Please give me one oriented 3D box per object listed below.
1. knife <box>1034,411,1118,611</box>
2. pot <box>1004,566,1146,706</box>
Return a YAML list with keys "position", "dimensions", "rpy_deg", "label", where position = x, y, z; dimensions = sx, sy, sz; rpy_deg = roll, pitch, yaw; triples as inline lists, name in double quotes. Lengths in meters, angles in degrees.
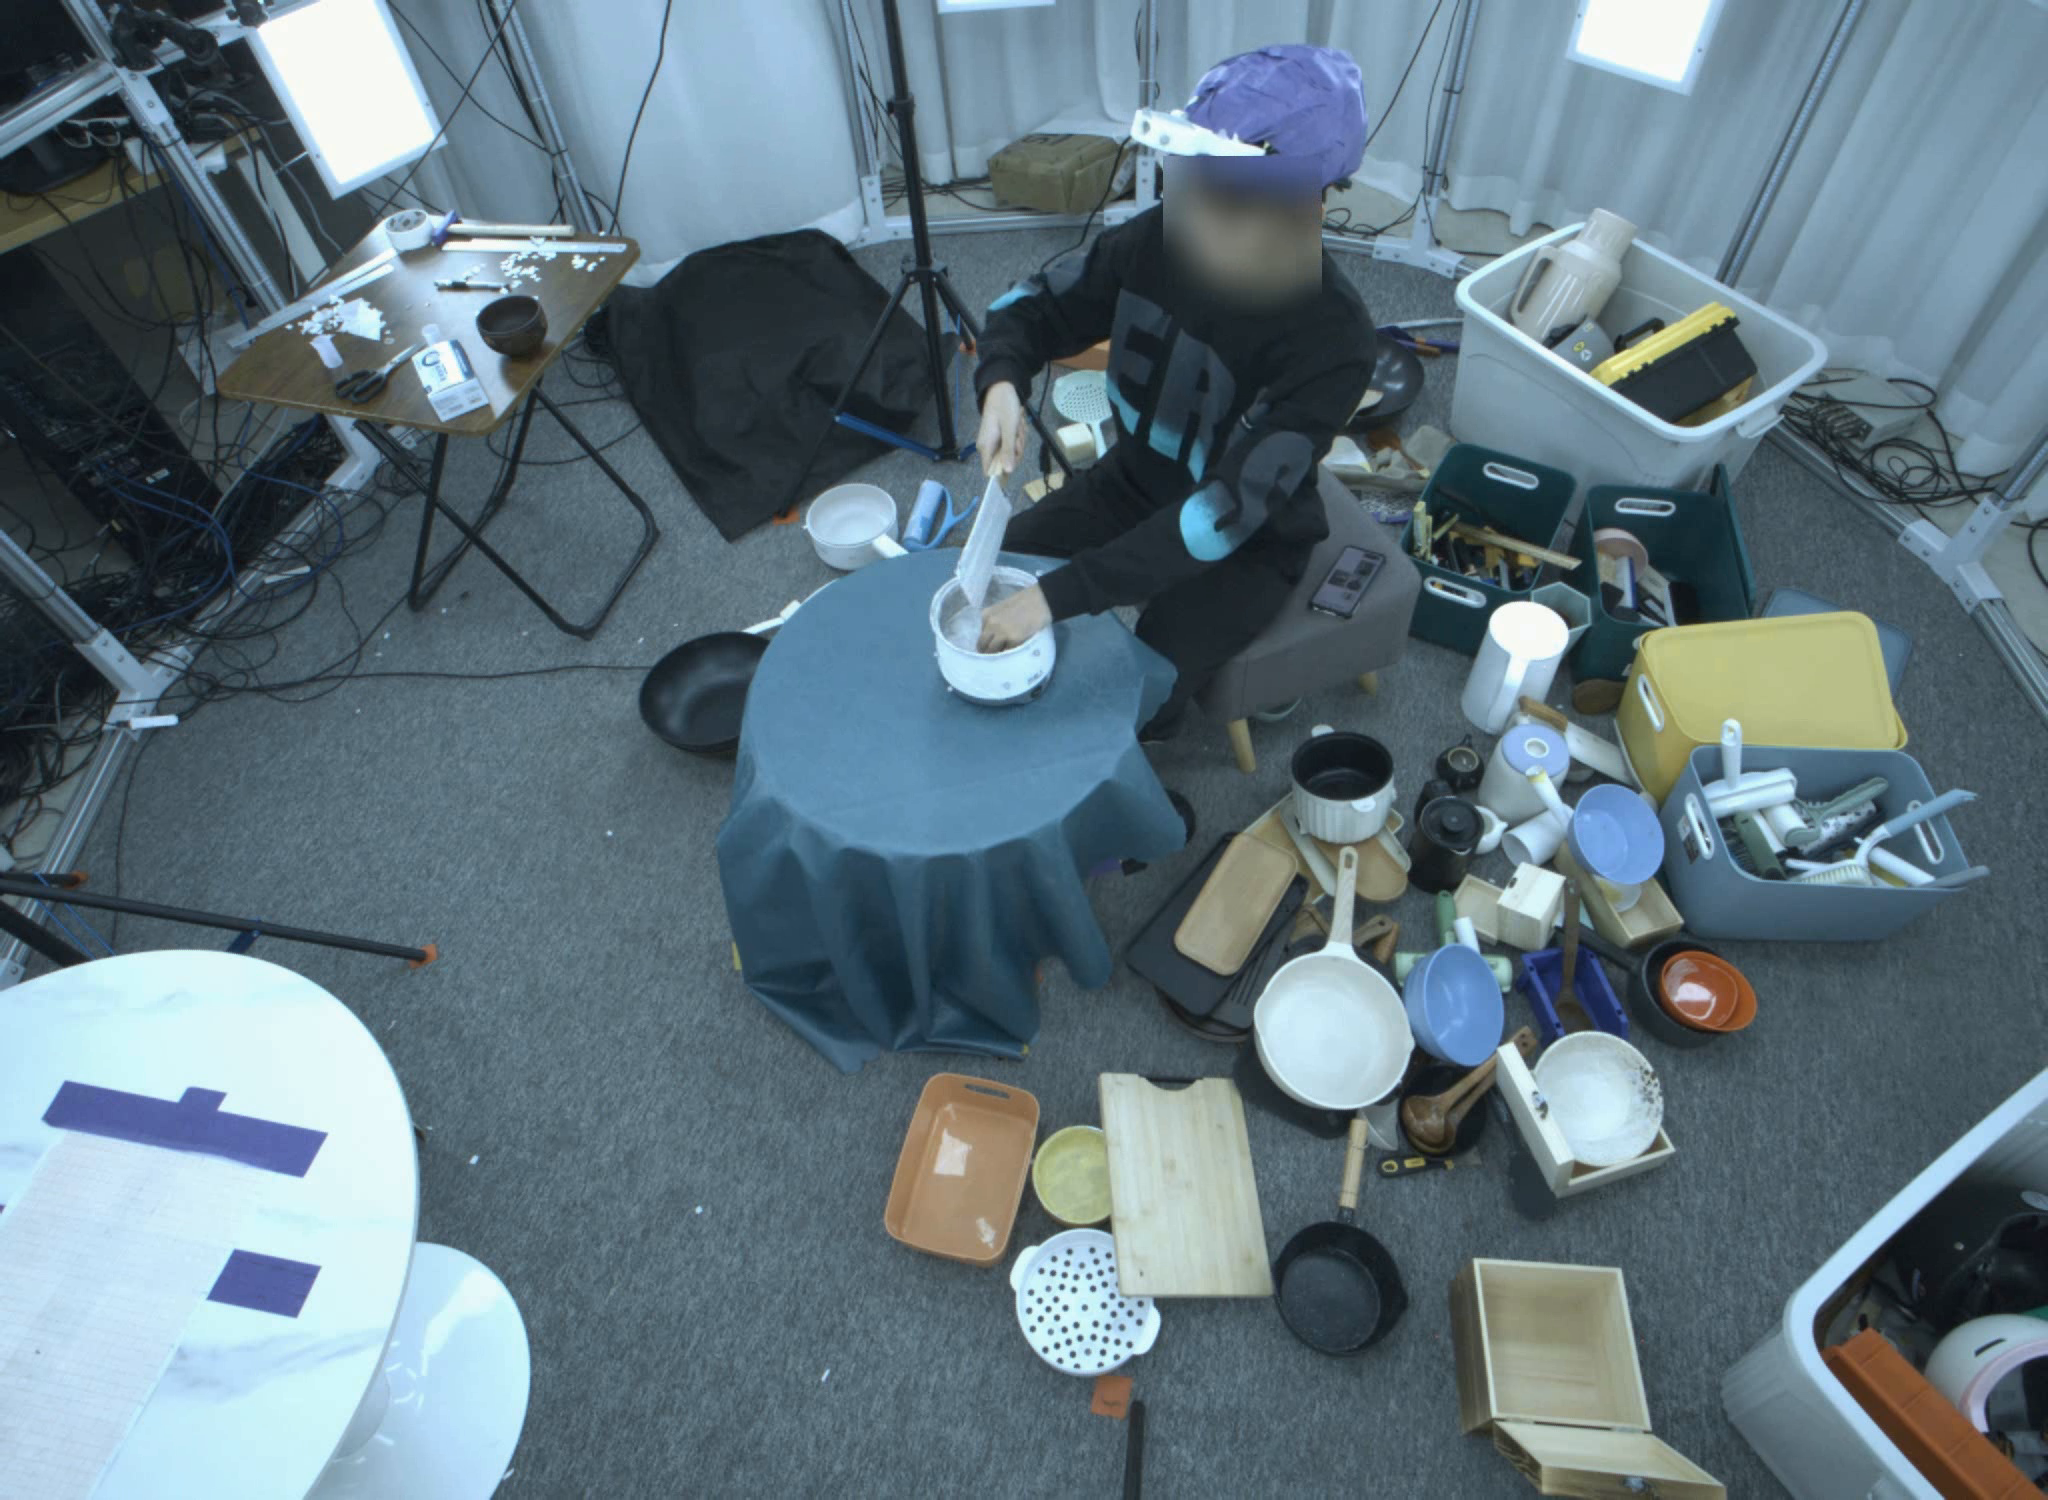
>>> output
- position: [0.074, -0.351, 1.732]
  dimensions: [0.021, 0.116, 0.315]
  rpy_deg: [12, 73, 24]
  label: "knife"
- position: [0.085, -0.179, 1.825]
  dimensions: [0.235, 0.138, 0.175]
  rpy_deg: [-36, 61, -19]
  label: "pot"
